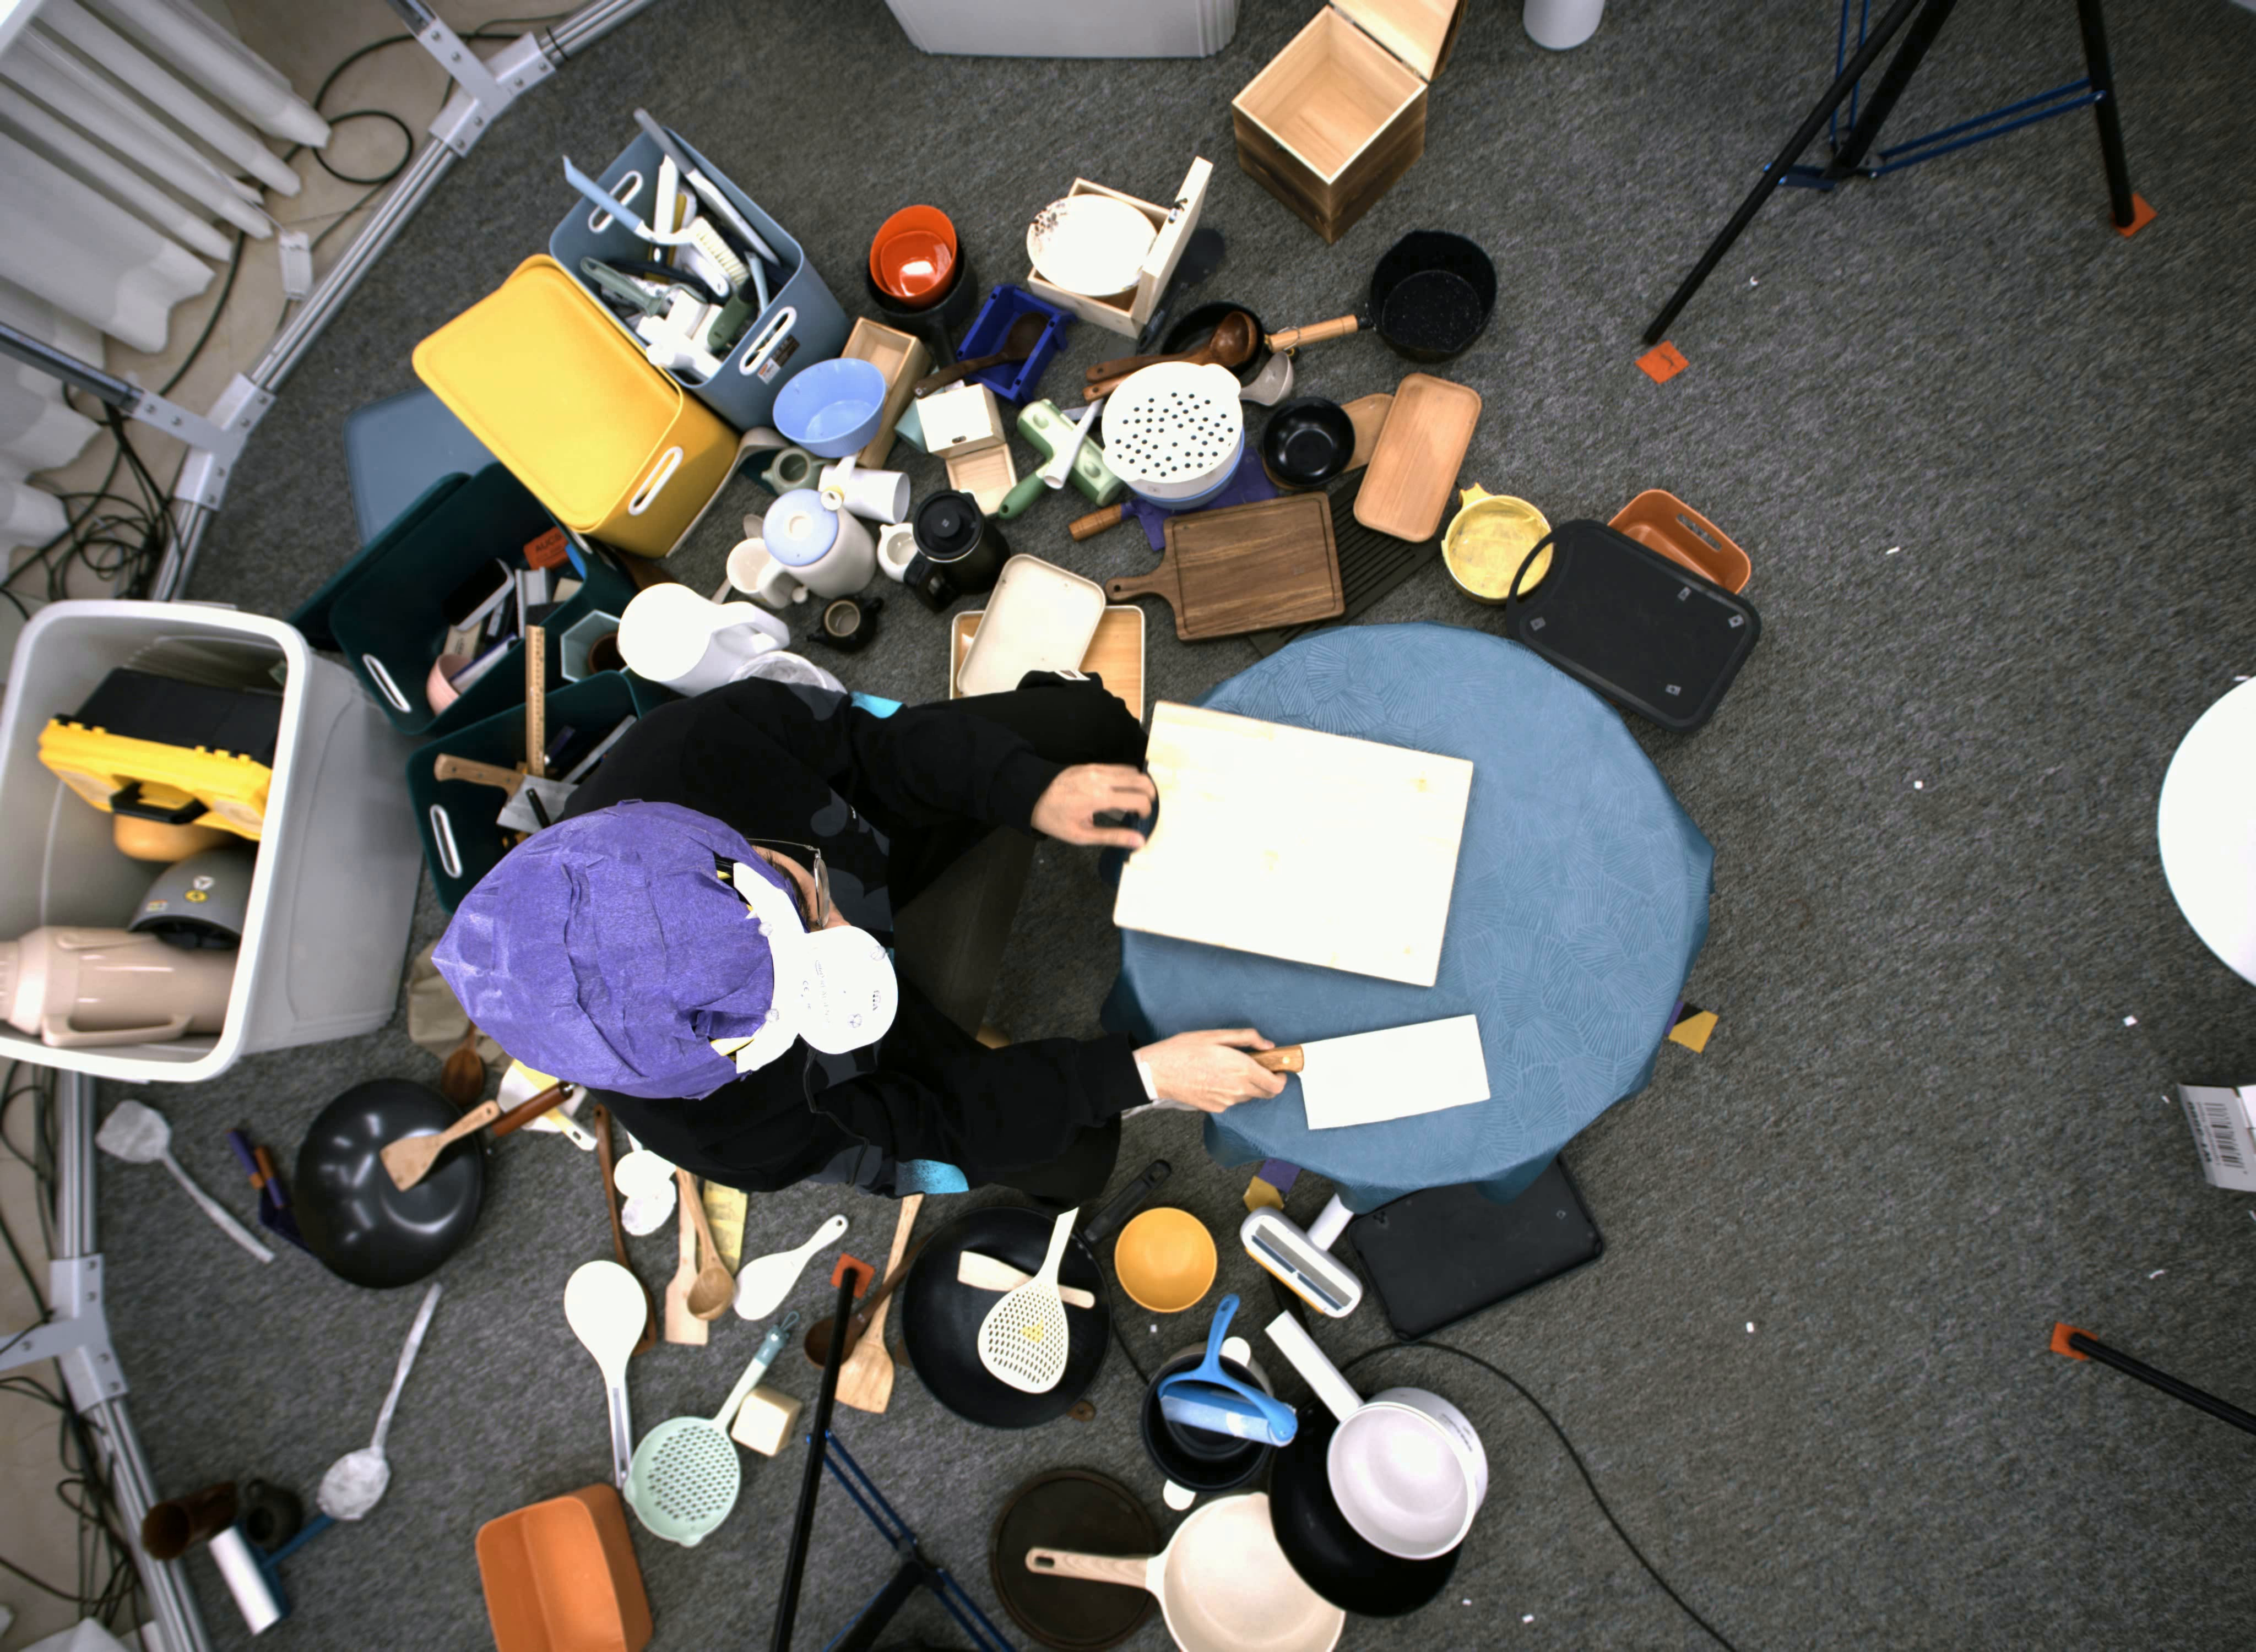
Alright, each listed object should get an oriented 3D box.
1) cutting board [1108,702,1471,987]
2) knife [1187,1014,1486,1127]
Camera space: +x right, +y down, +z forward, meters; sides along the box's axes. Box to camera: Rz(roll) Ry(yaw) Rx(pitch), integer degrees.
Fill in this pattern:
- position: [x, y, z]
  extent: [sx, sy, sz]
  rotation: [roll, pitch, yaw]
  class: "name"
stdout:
- position: [0.169, 0.018, 1.449]
  extent: [0.349, 0.023, 0.250]
  rotation: [9, 89, 3]
  class: "cutting board"
- position: [0.218, 0.263, 1.444]
  extent: [0.307, 0.021, 0.093]
  rotation: [-11, 94, 7]
  class: "knife"
